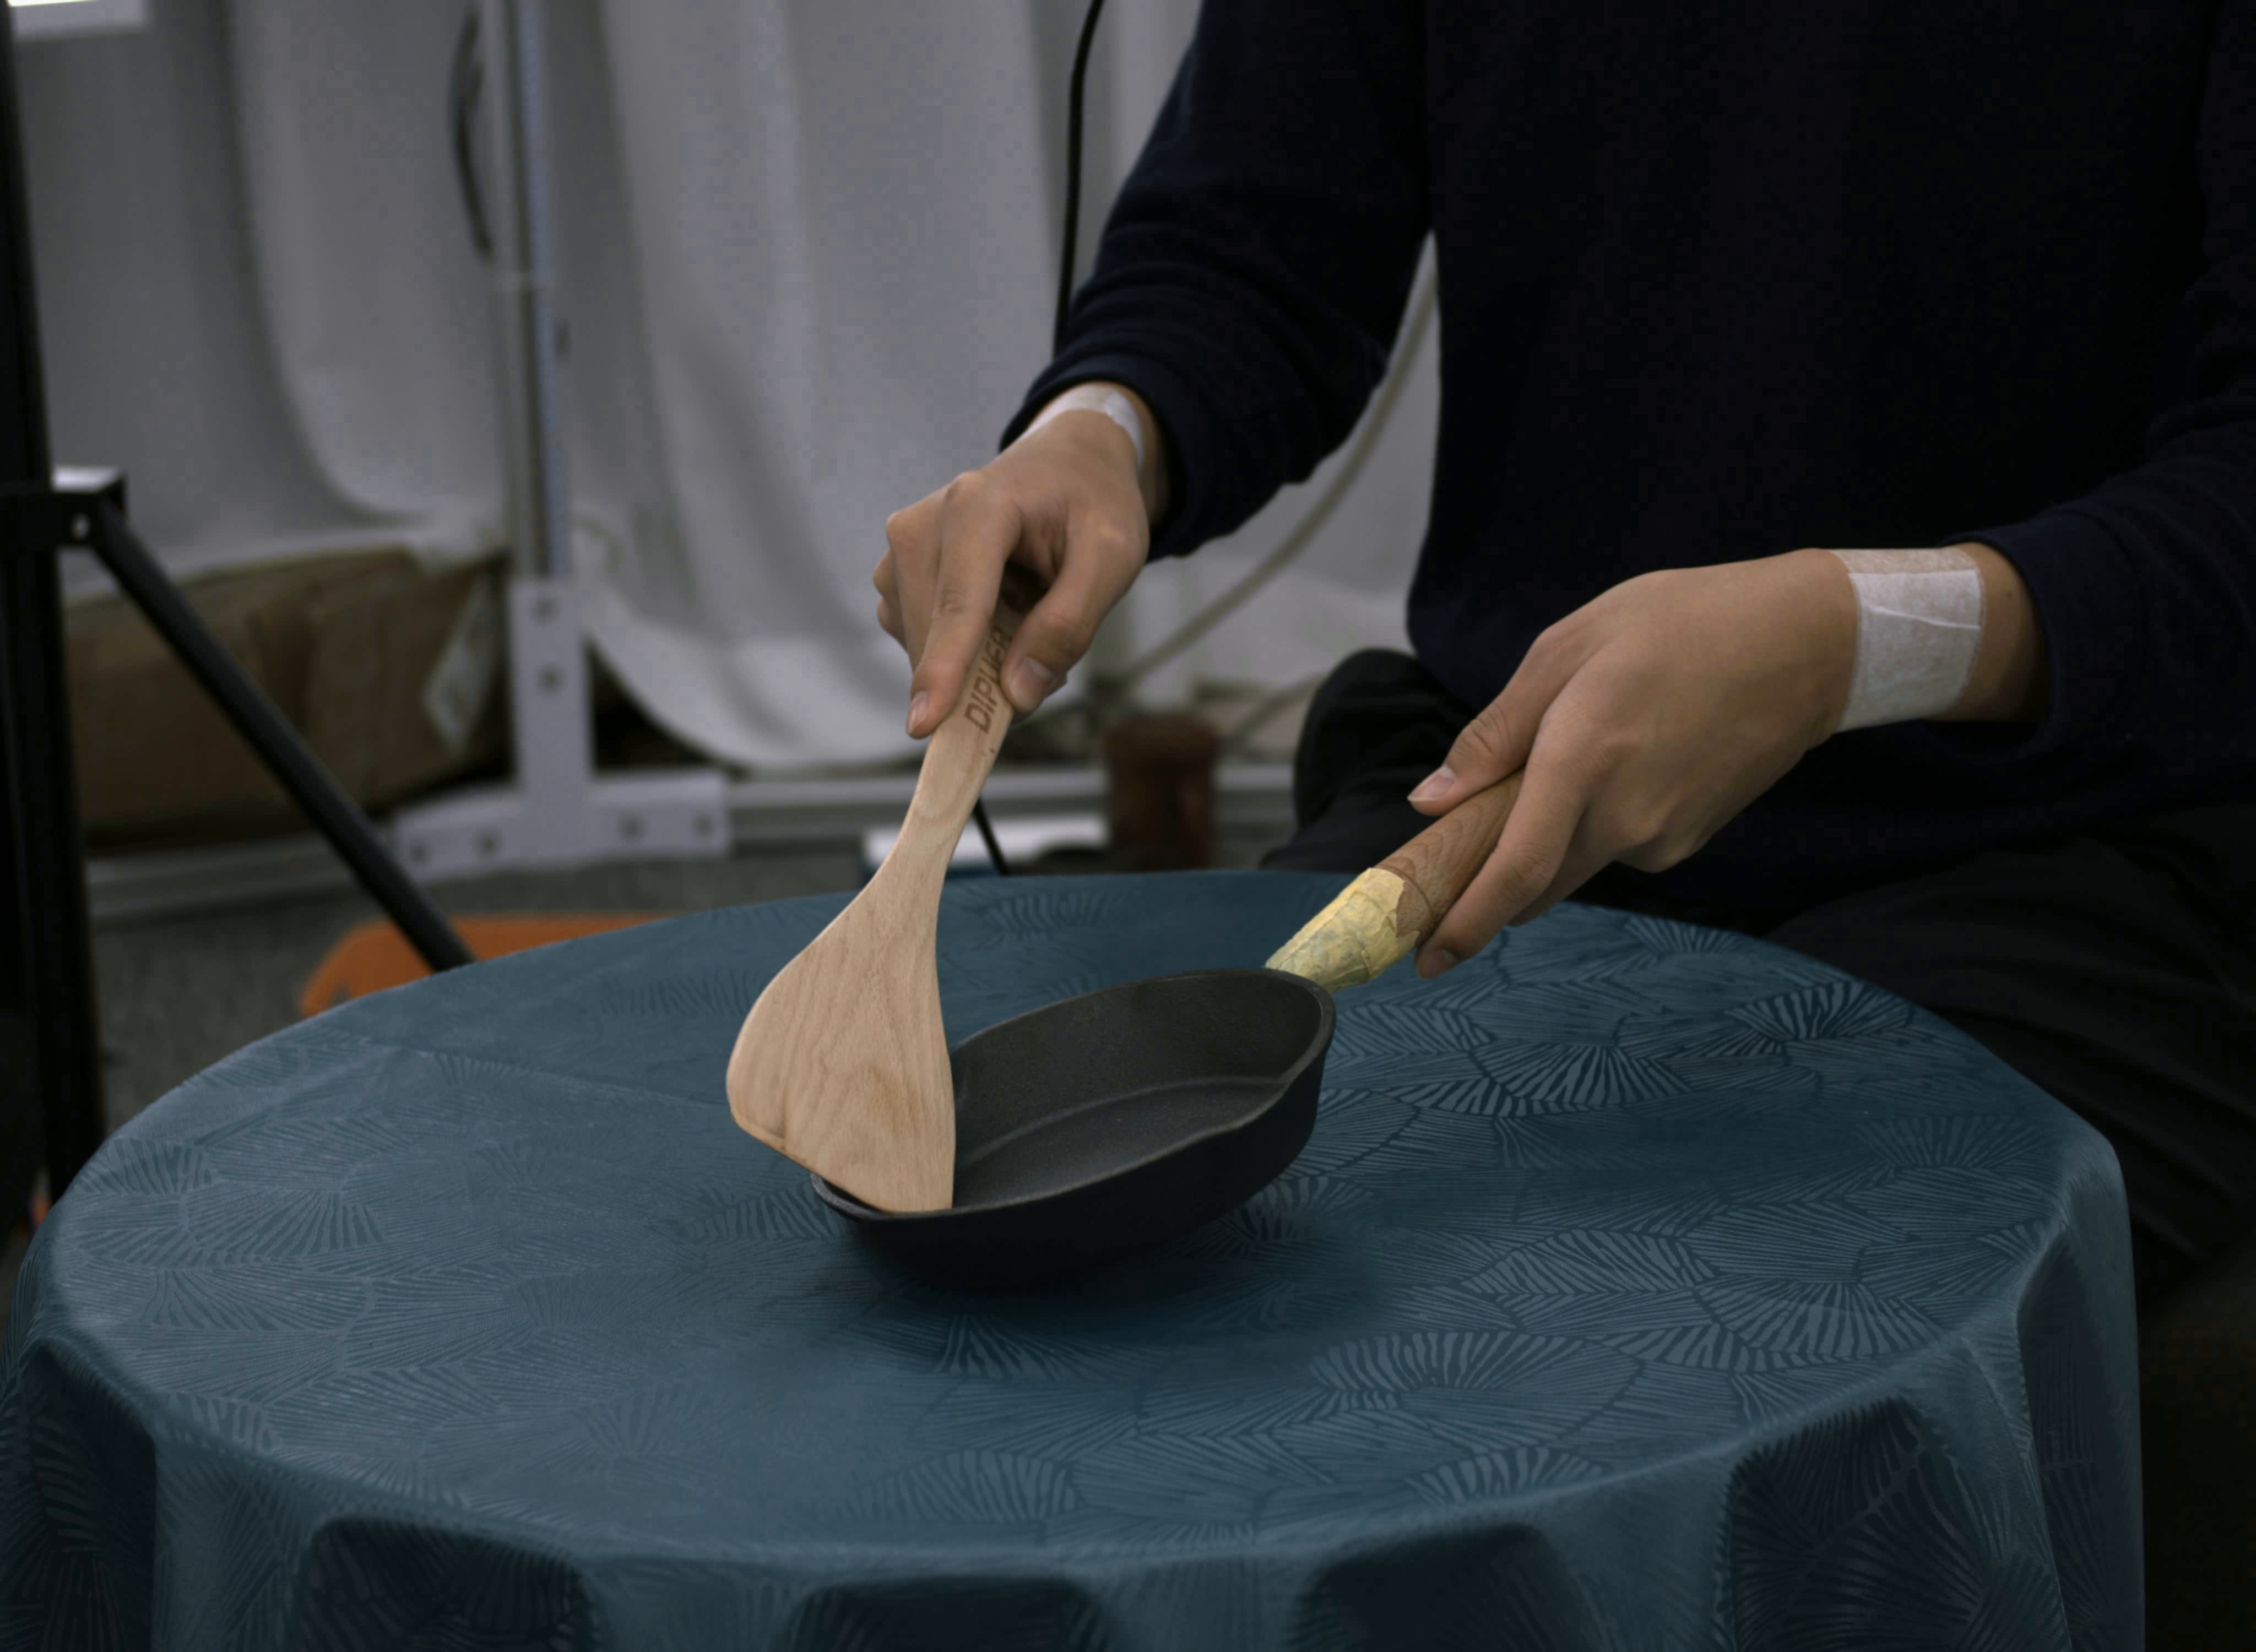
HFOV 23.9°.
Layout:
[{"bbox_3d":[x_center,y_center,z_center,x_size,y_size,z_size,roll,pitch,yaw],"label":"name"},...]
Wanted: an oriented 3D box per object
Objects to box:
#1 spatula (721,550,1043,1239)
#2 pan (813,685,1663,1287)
[{"bbox_3d":[-0.059,0.010,1.594,0.079,0.017,0.328,36,35,-15],"label":"spatula"},{"bbox_3d":[0.050,0.046,1.551,0.319,0.049,0.172,-30,19,-29],"label":"pan"}]
